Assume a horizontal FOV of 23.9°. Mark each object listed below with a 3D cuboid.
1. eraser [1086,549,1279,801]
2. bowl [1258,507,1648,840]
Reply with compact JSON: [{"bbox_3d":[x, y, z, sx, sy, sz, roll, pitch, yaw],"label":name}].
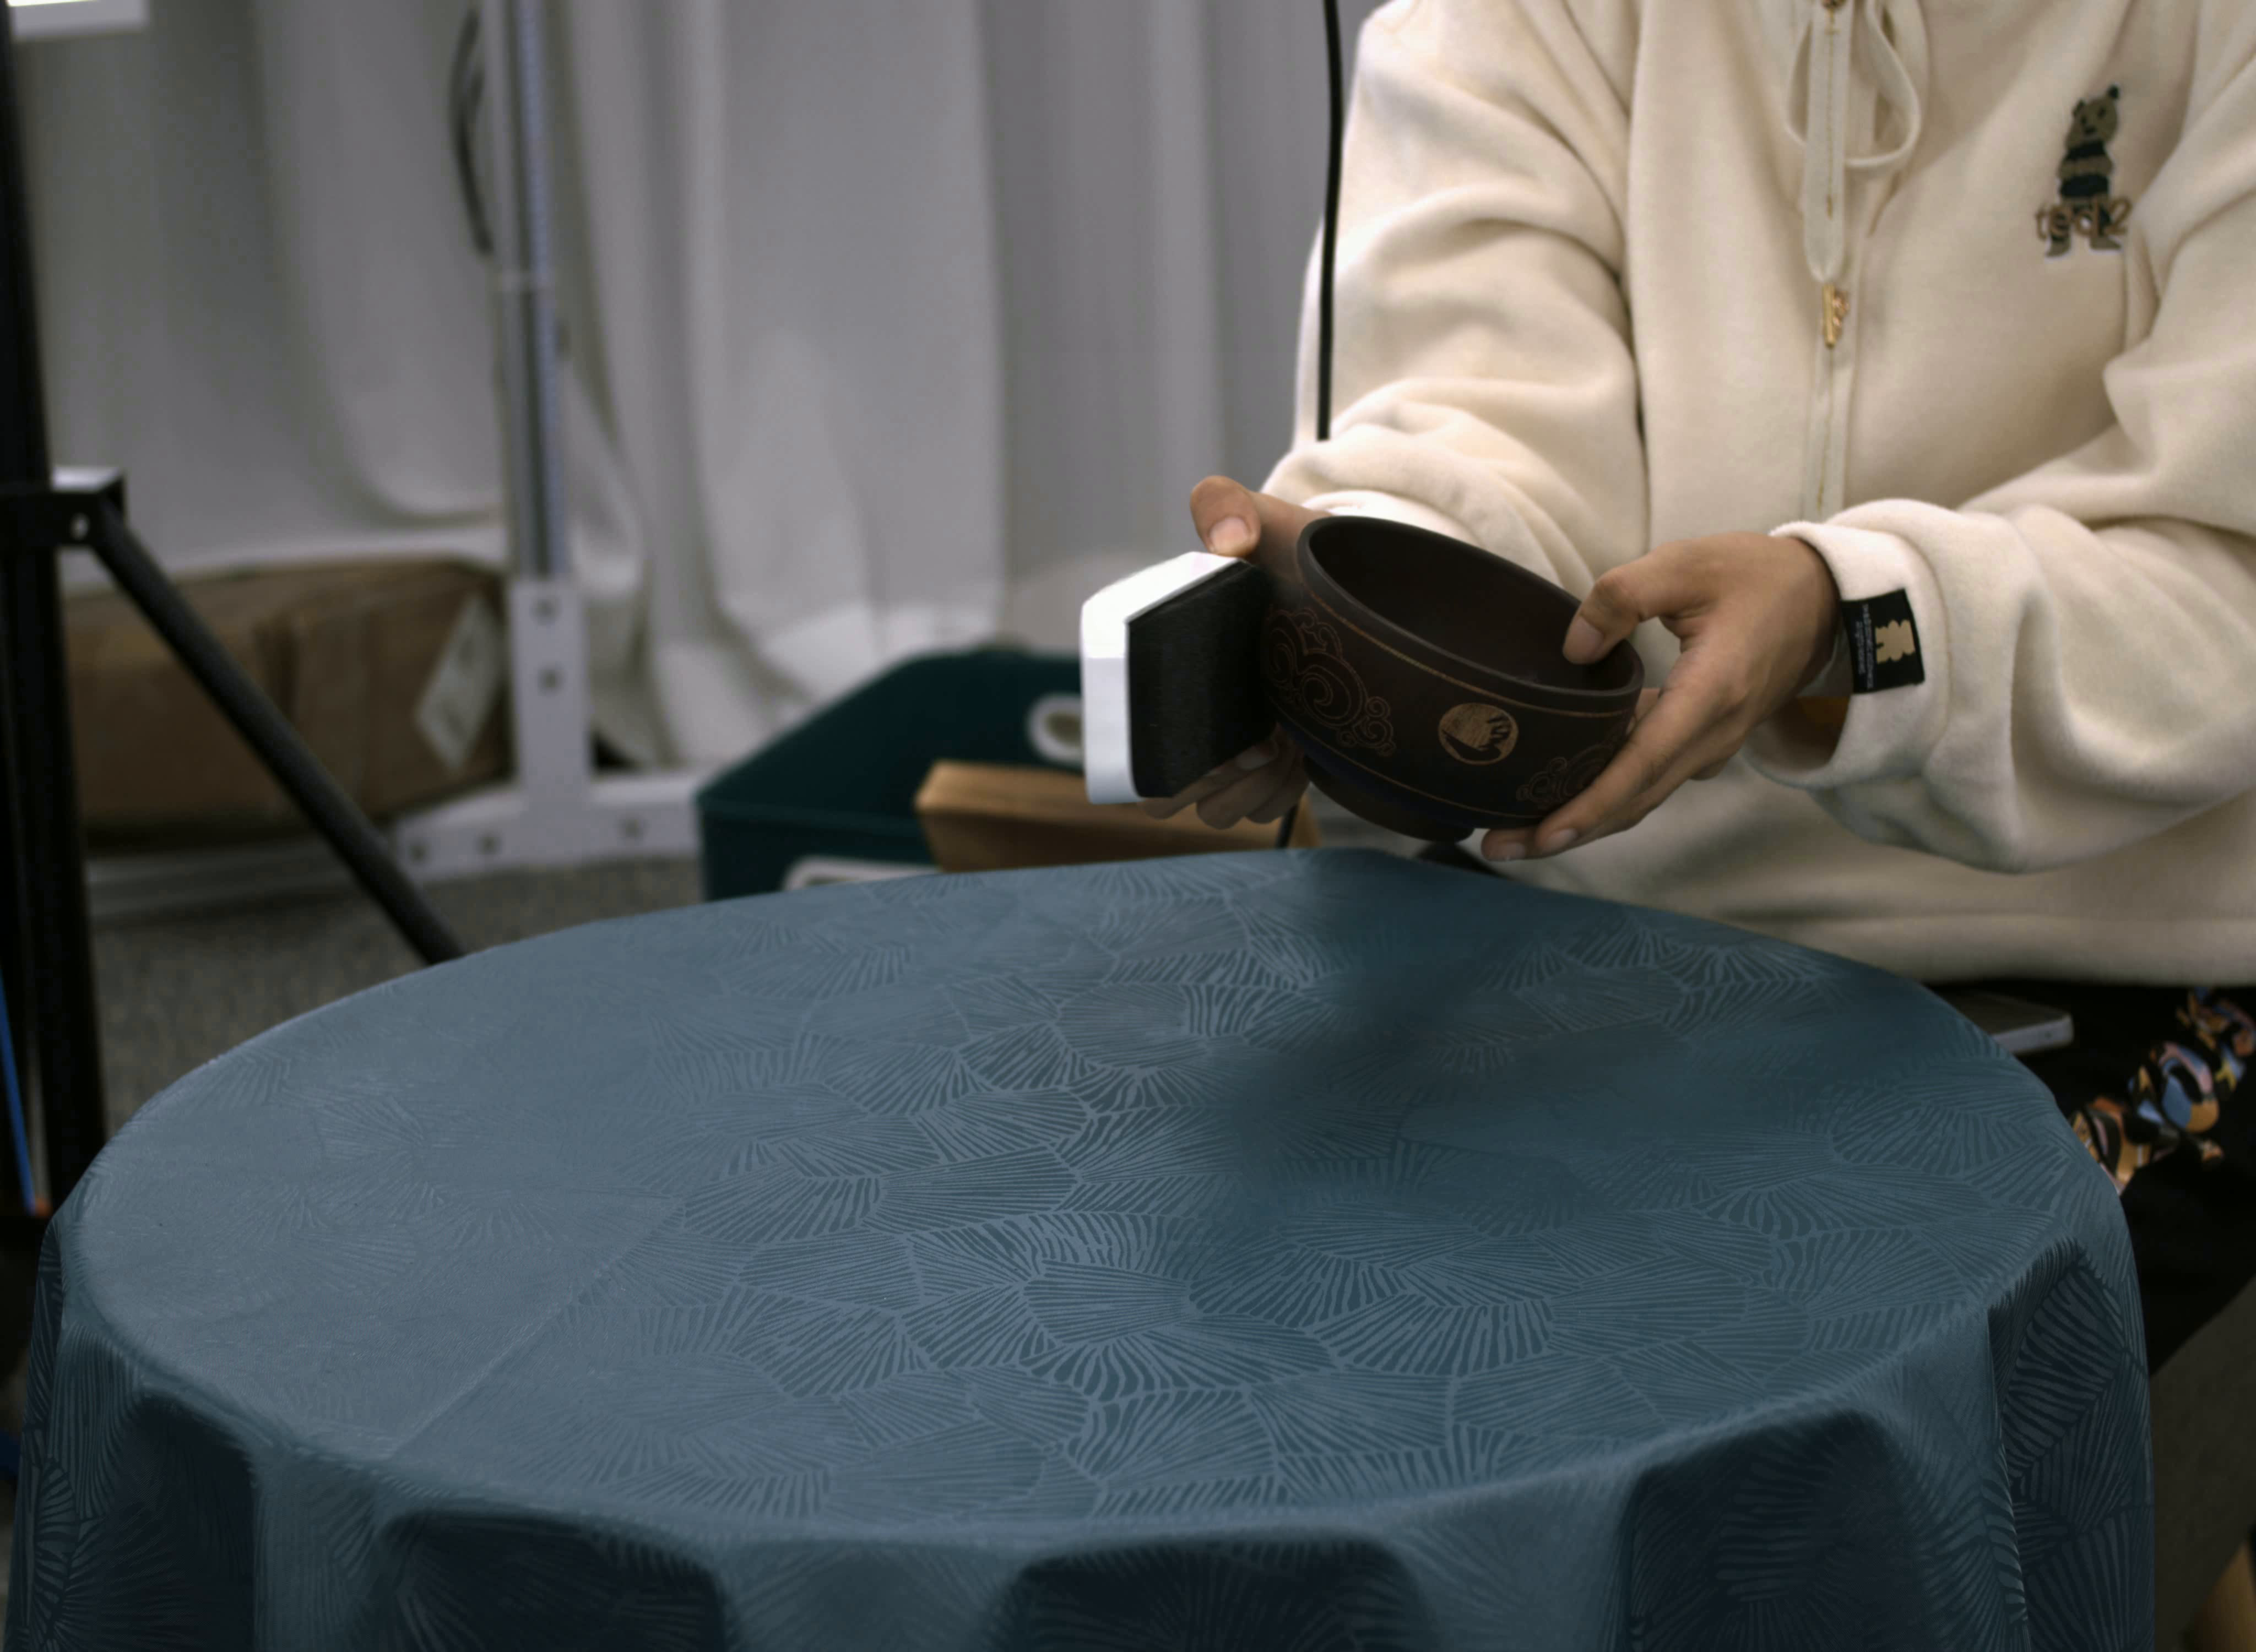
[{"bbox_3d":[0.014,-0.047,1.599,0.035,0.063,0.130,3,12,17],"label":"eraser"},{"bbox_3d":[0.093,-0.039,1.618,0.116,0.070,0.119,21,21,-10],"label":"bowl"}]
